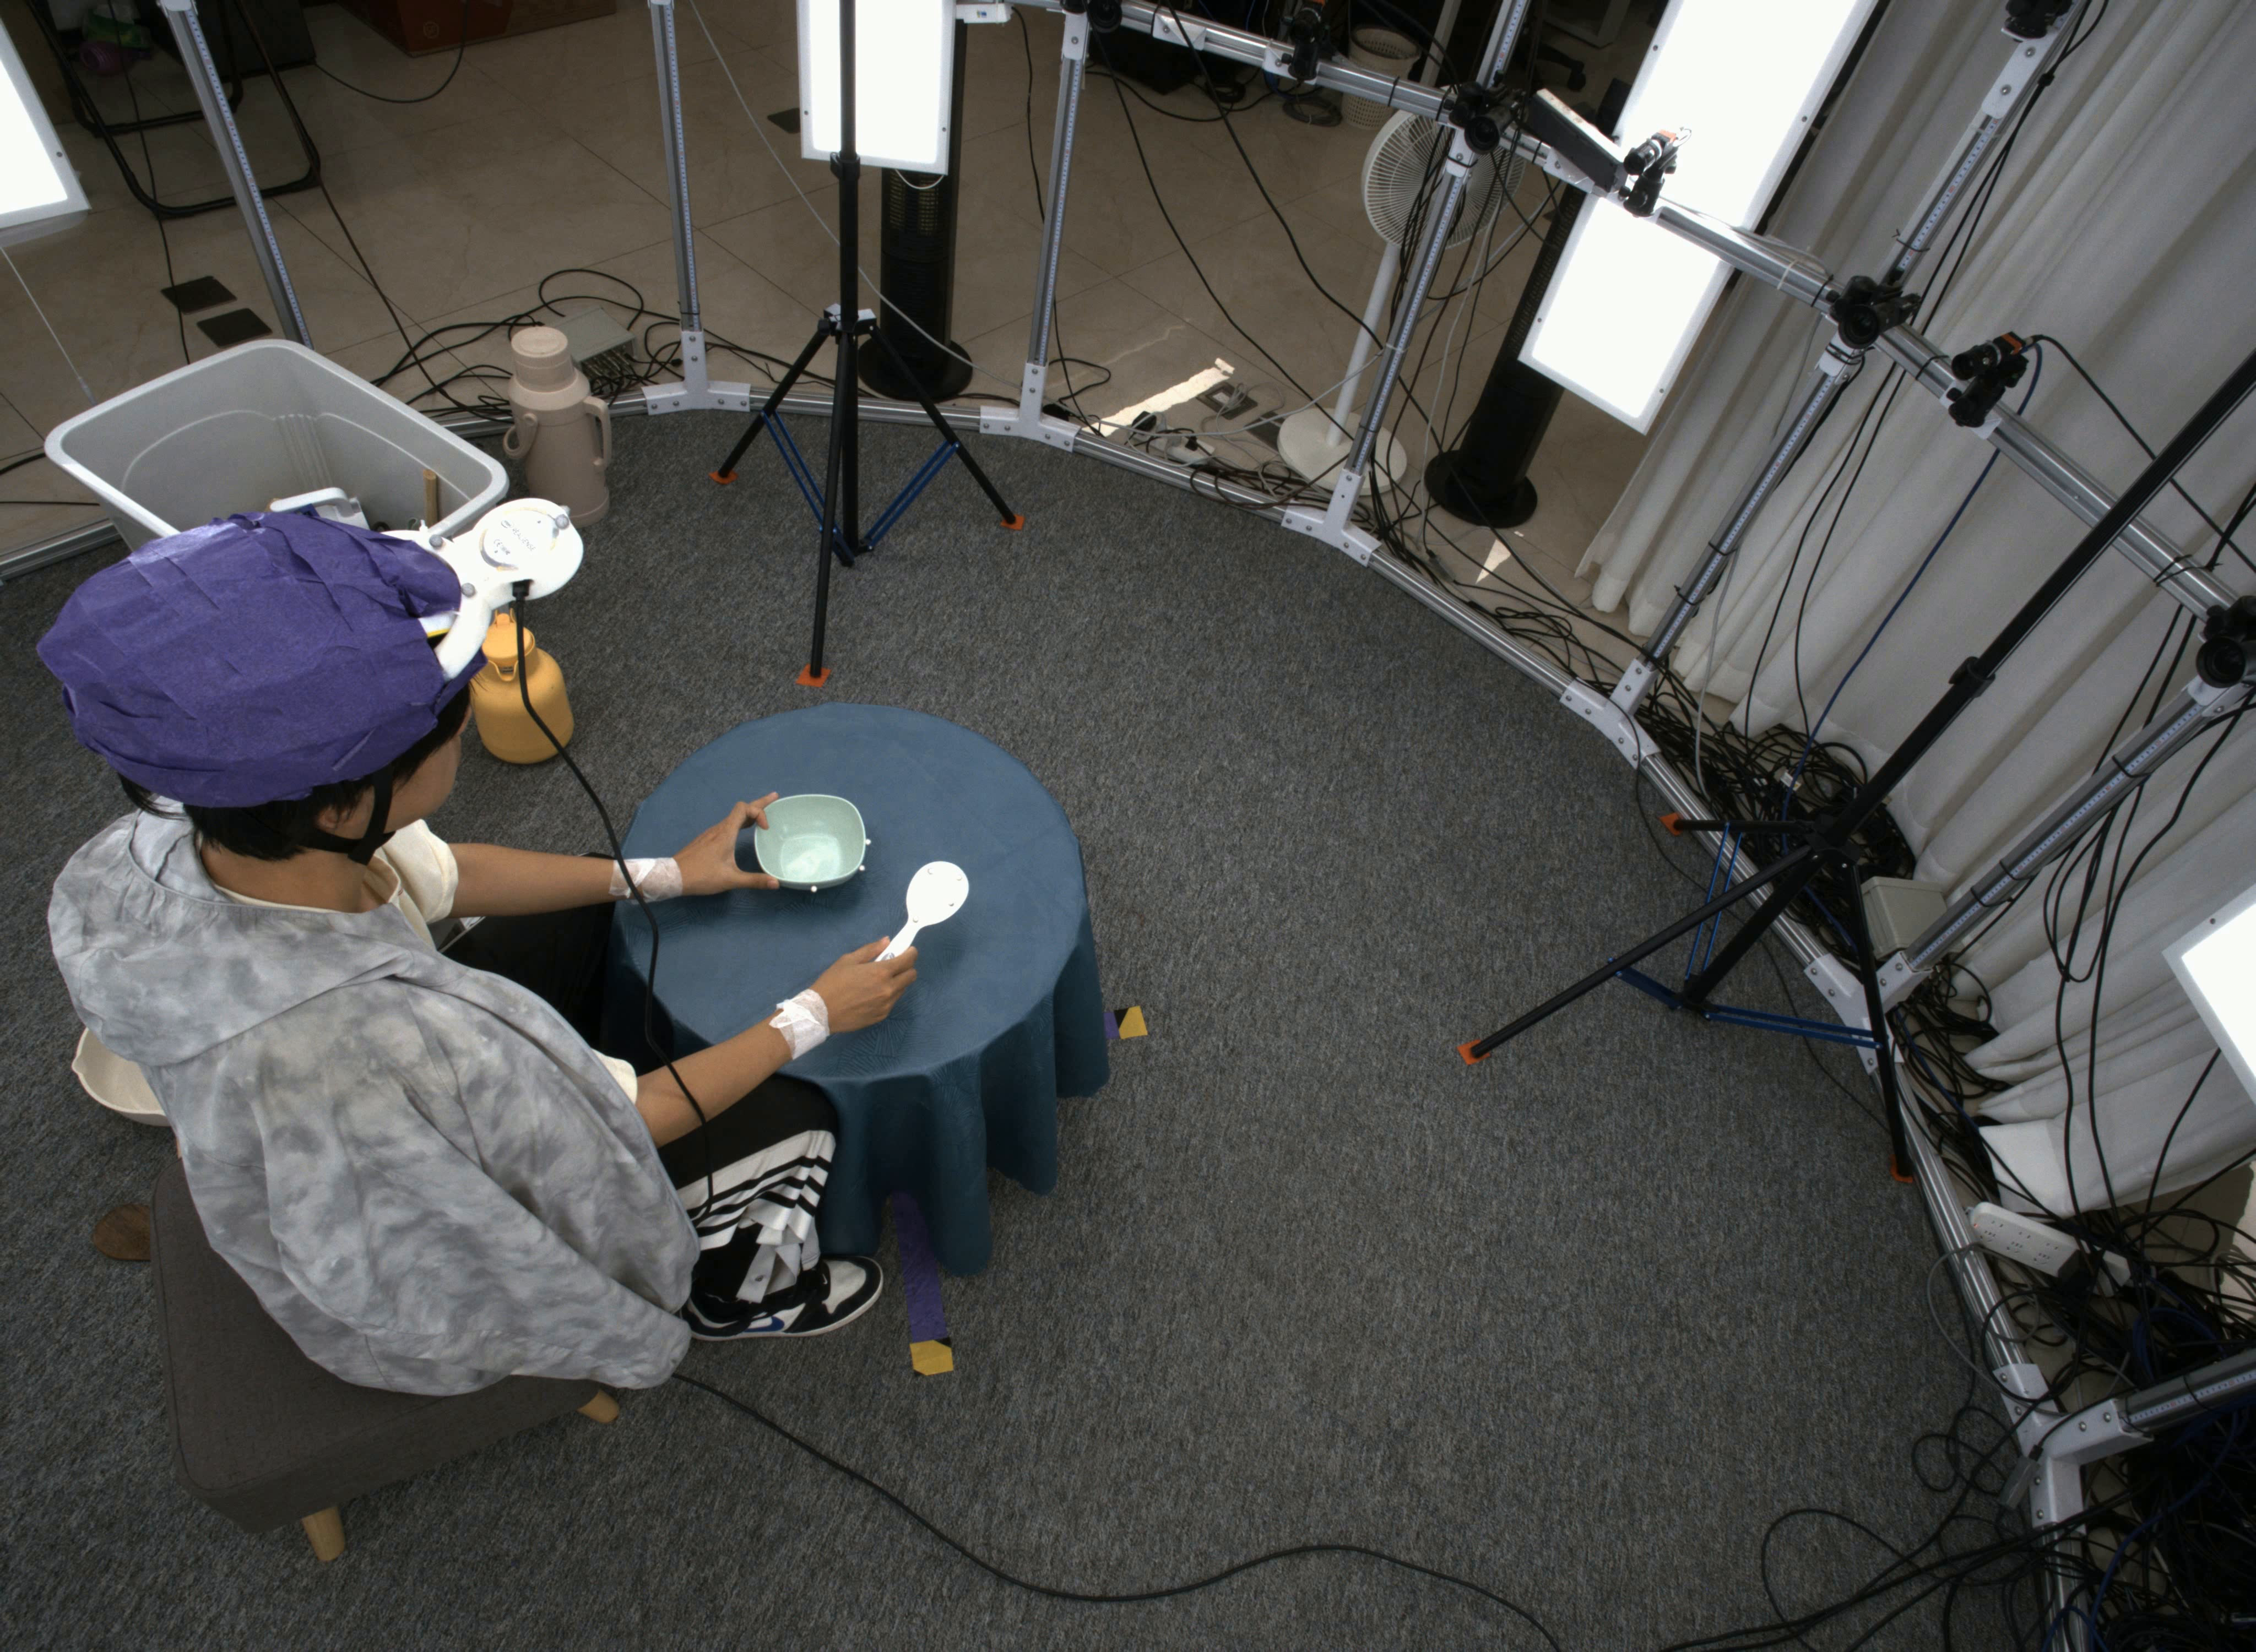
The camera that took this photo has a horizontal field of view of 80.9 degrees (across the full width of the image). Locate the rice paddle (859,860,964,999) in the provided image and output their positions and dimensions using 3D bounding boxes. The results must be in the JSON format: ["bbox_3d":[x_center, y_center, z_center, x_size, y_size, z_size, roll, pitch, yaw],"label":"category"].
[{"bbox_3d":[-0.262,0.118,1.578,0.069,0.029,0.204,33,54,-5],"label":"rice paddle"}]

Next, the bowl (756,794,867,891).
[{"bbox_3d":[-0.407,0.031,1.668,0.151,0.059,0.149,10,53,-11],"label":"bowl"}]
